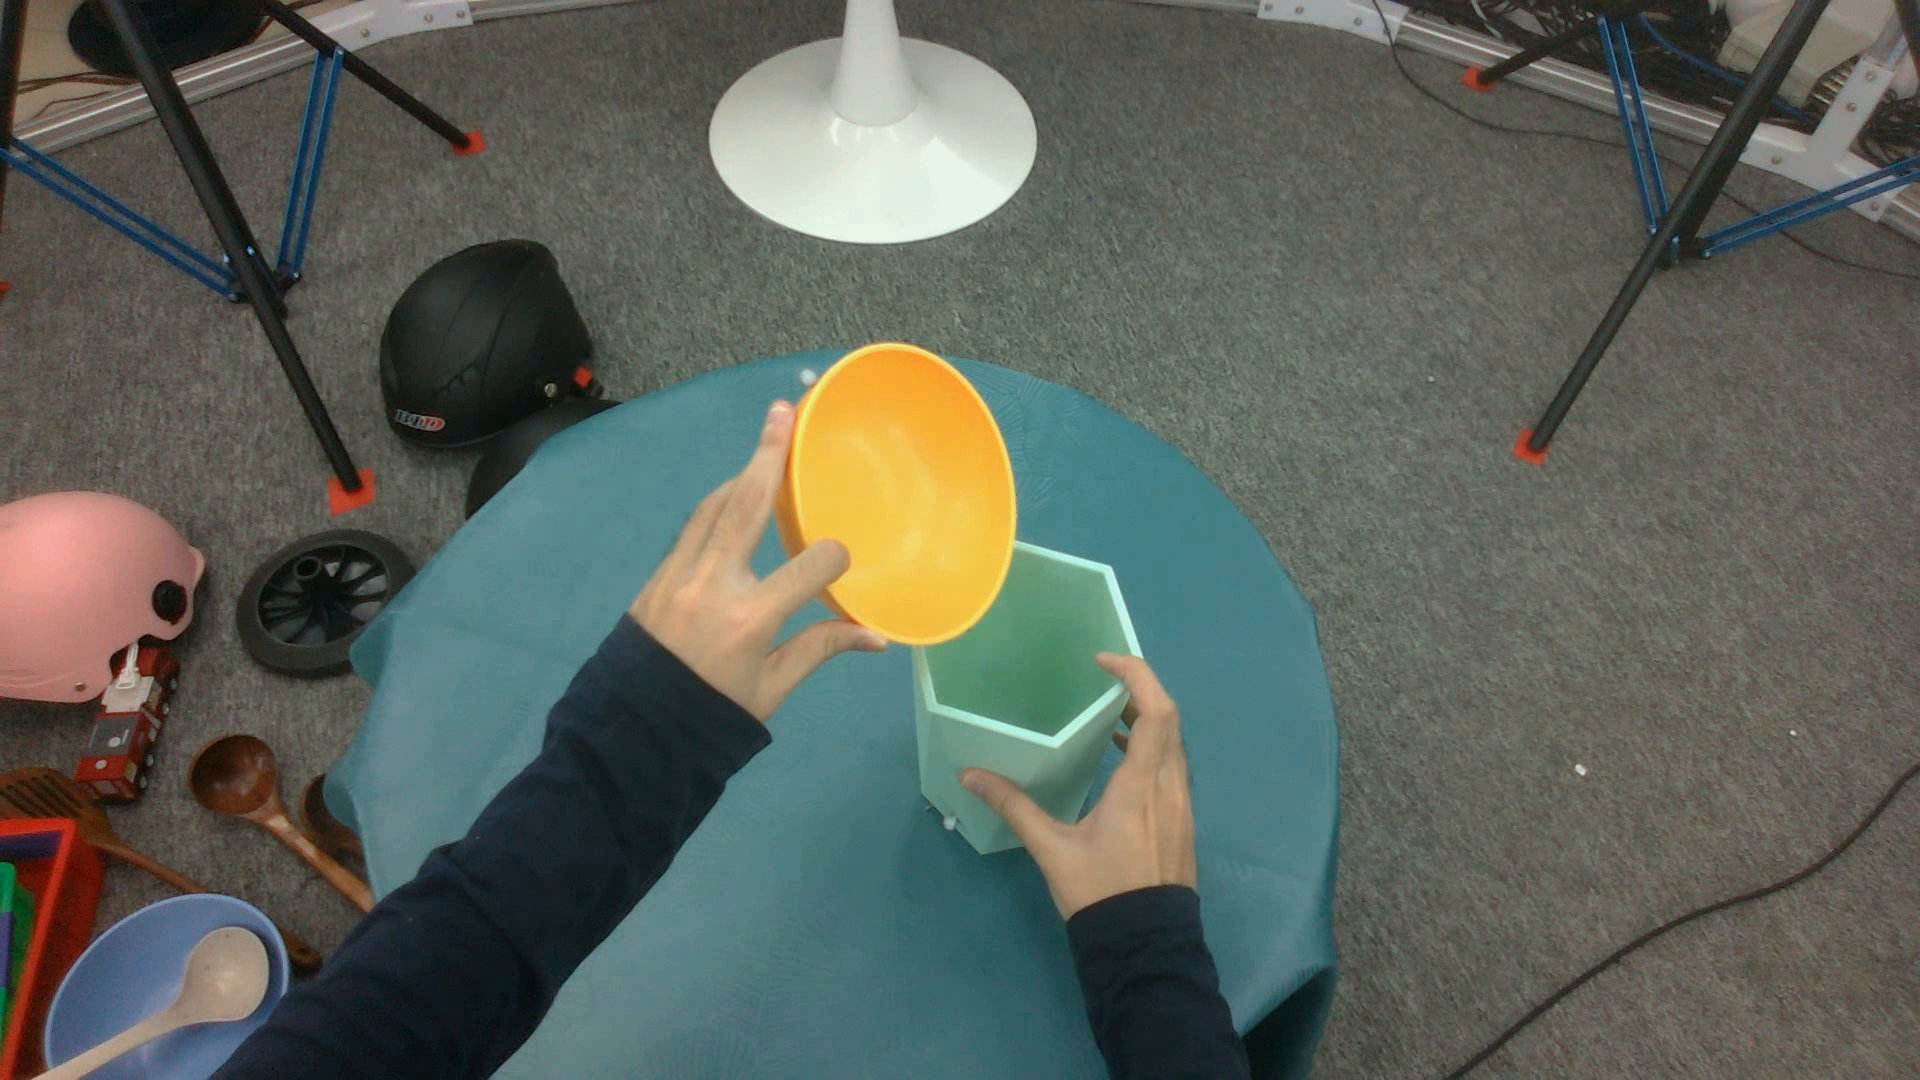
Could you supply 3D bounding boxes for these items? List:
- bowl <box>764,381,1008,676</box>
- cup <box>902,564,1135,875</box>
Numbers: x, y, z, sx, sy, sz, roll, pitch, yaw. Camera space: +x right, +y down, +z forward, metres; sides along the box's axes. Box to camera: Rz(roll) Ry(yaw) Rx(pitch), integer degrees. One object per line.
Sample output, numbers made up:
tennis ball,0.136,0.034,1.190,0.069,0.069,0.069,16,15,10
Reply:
bowl,-0.047,-0.003,0.689,0.060,0.145,0.146,-10,37,46
cup,0.027,0.108,0.777,0.131,0.162,0.116,13,54,9
